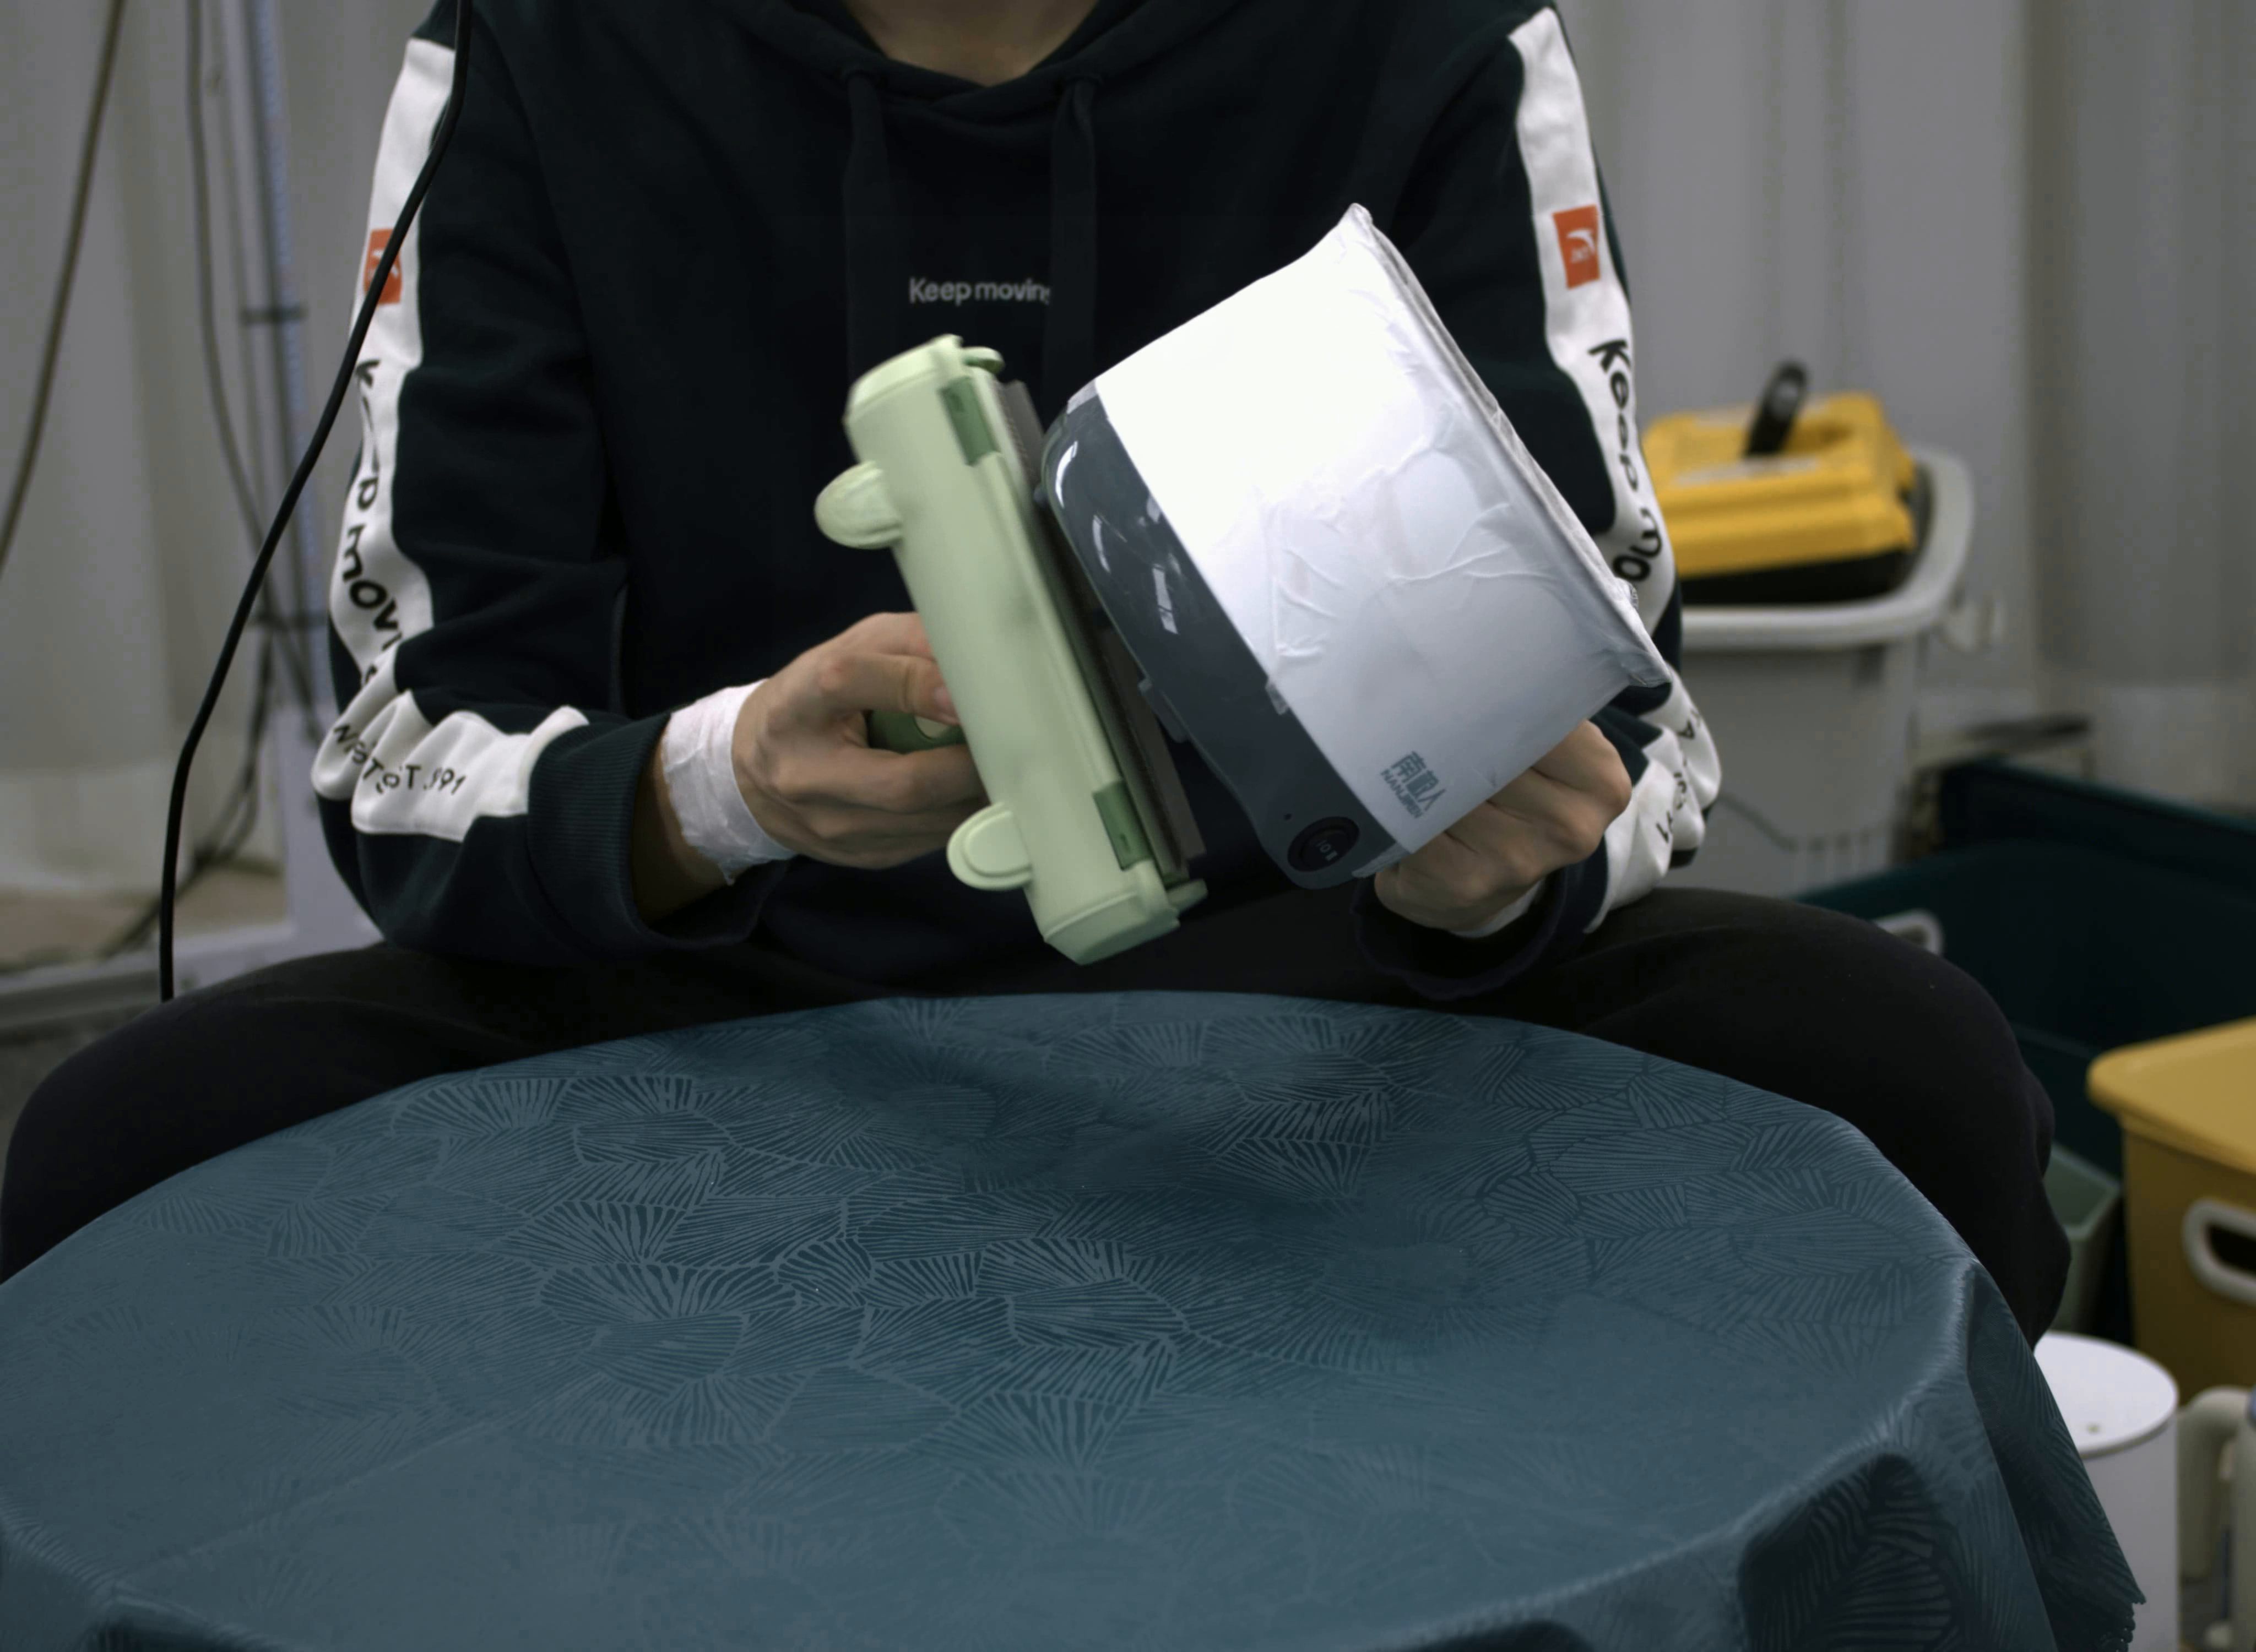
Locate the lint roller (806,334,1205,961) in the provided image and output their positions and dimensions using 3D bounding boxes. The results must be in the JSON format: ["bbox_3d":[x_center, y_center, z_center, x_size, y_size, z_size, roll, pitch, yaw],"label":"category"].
[{"bbox_3d":[-0.067,-0.037,1.753,0.082,0.200,0.182,-16,-10,-35],"label":"lint roller"}]

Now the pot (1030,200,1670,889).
[{"bbox_3d":[0.076,-0.071,1.710,0.136,0.230,0.181,-34,53,8],"label":"pot"}]
